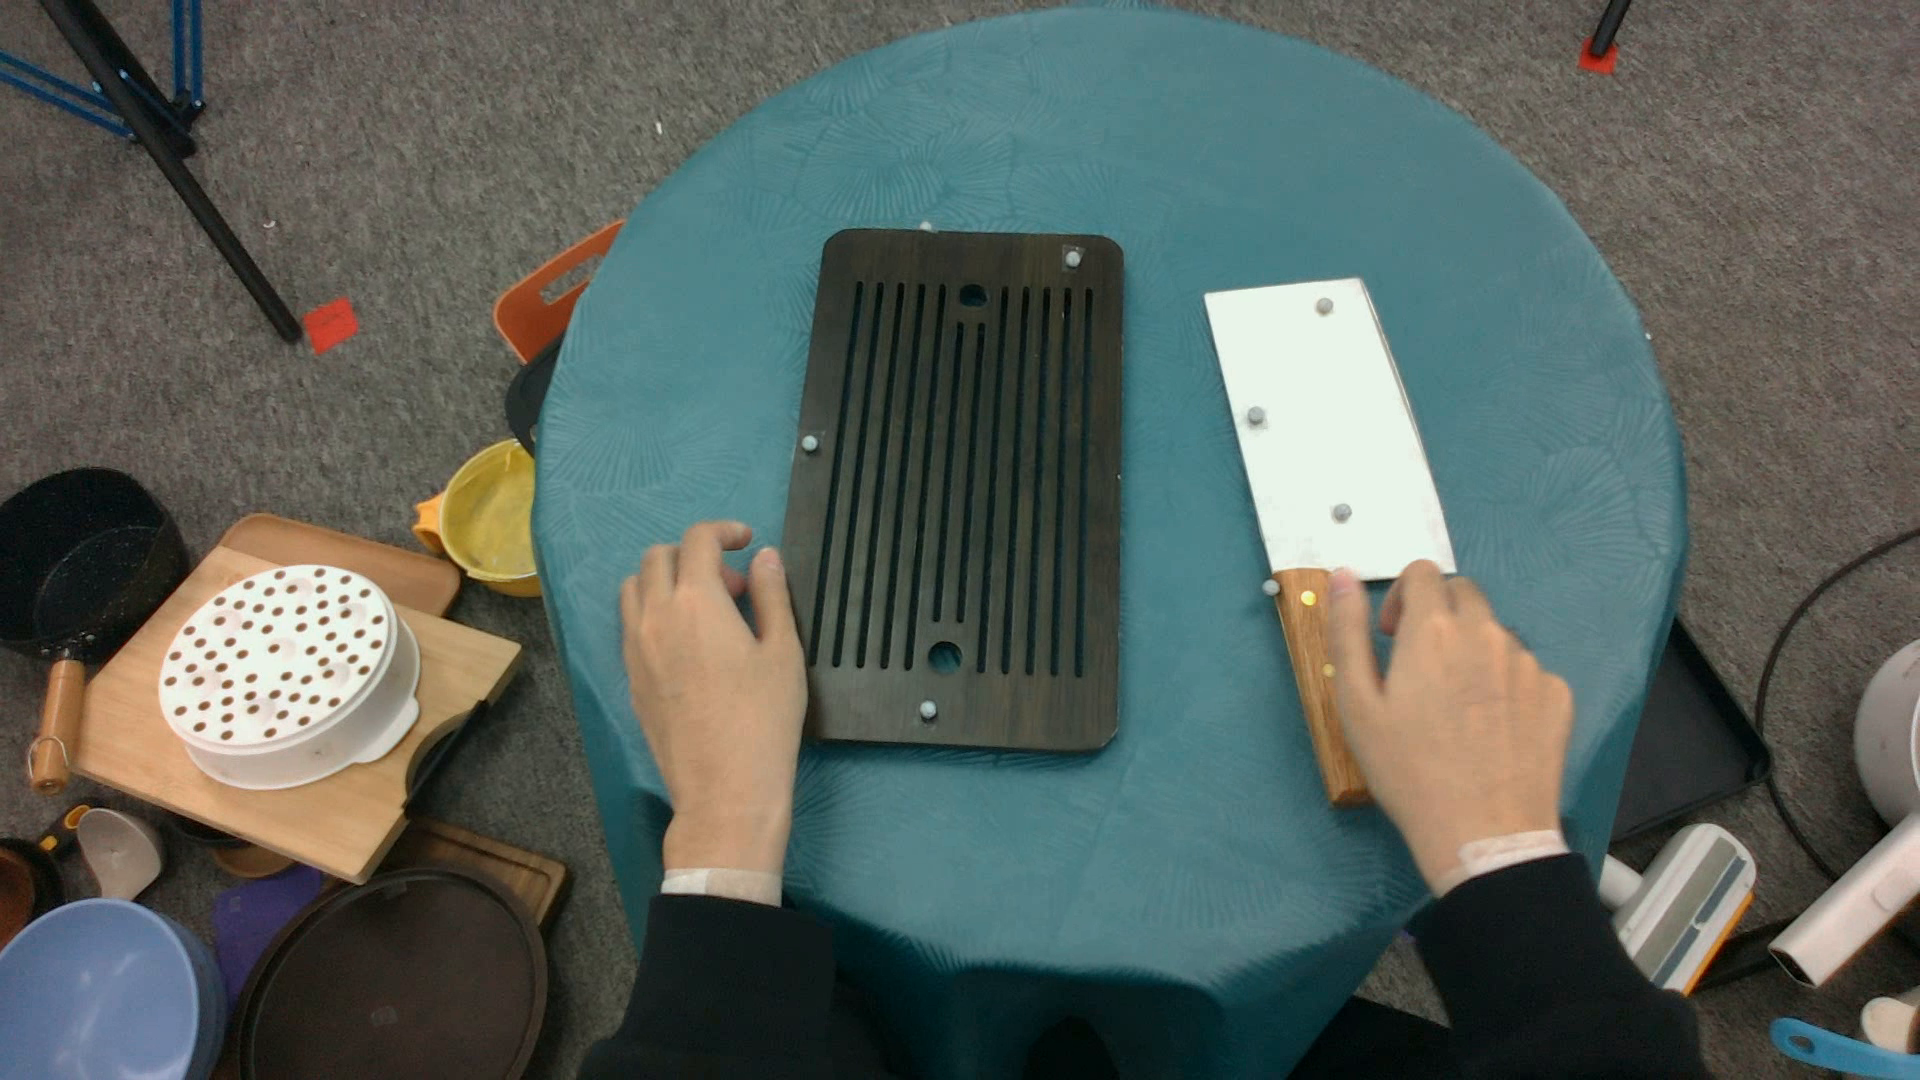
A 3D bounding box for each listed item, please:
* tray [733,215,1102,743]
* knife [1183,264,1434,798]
[{"bbox_3d":[-0.014,-0.043,0.709,0.170,0.018,0.307,2,62,3],"label":"tray"},{"bbox_3d":[0.184,-0.021,0.692,0.093,0.021,0.307,-6,60,-3],"label":"knife"}]
